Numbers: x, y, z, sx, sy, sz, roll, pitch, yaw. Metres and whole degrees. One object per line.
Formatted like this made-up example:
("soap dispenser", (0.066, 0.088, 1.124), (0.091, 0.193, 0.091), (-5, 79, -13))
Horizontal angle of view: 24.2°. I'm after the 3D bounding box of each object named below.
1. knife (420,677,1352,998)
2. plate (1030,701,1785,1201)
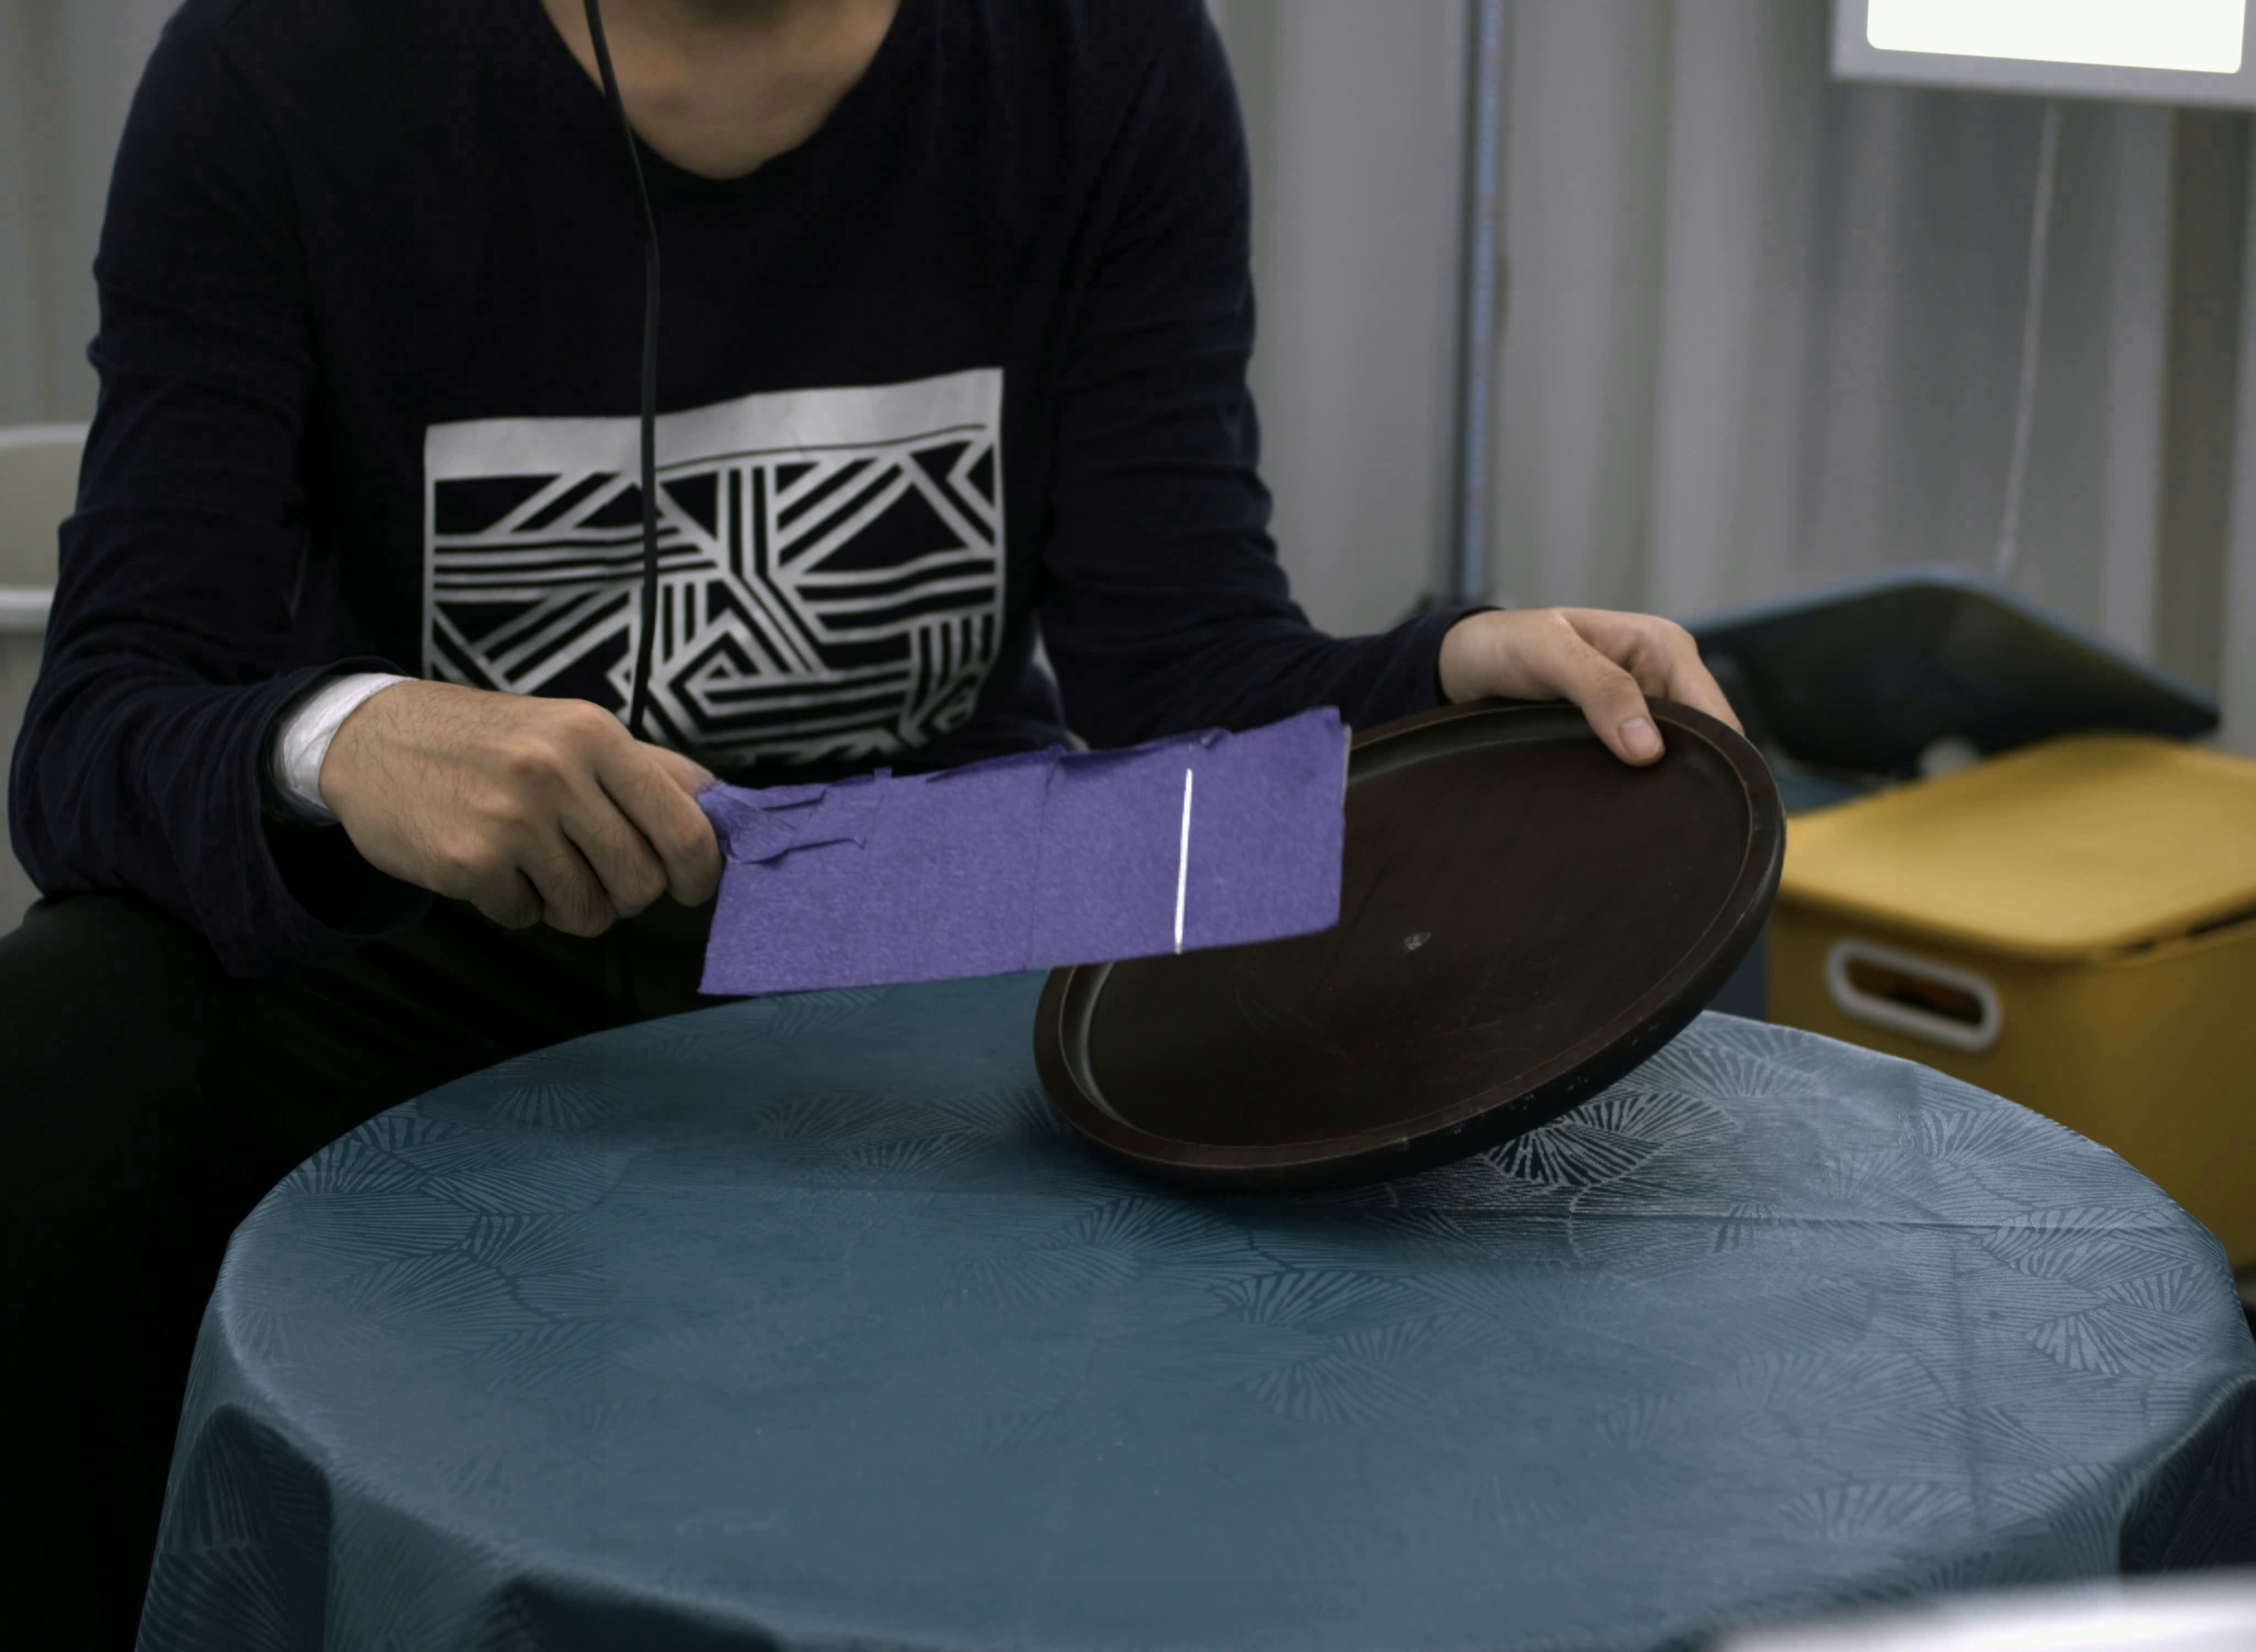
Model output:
("knife", (-0.082, 0.011, 1.661), (0.313, 0.032, 0.103), (-9, 44, 16))
("plate", (0.089, 0.038, 1.679), (0.253, 0.029, 0.252), (-17, 30, 11))
